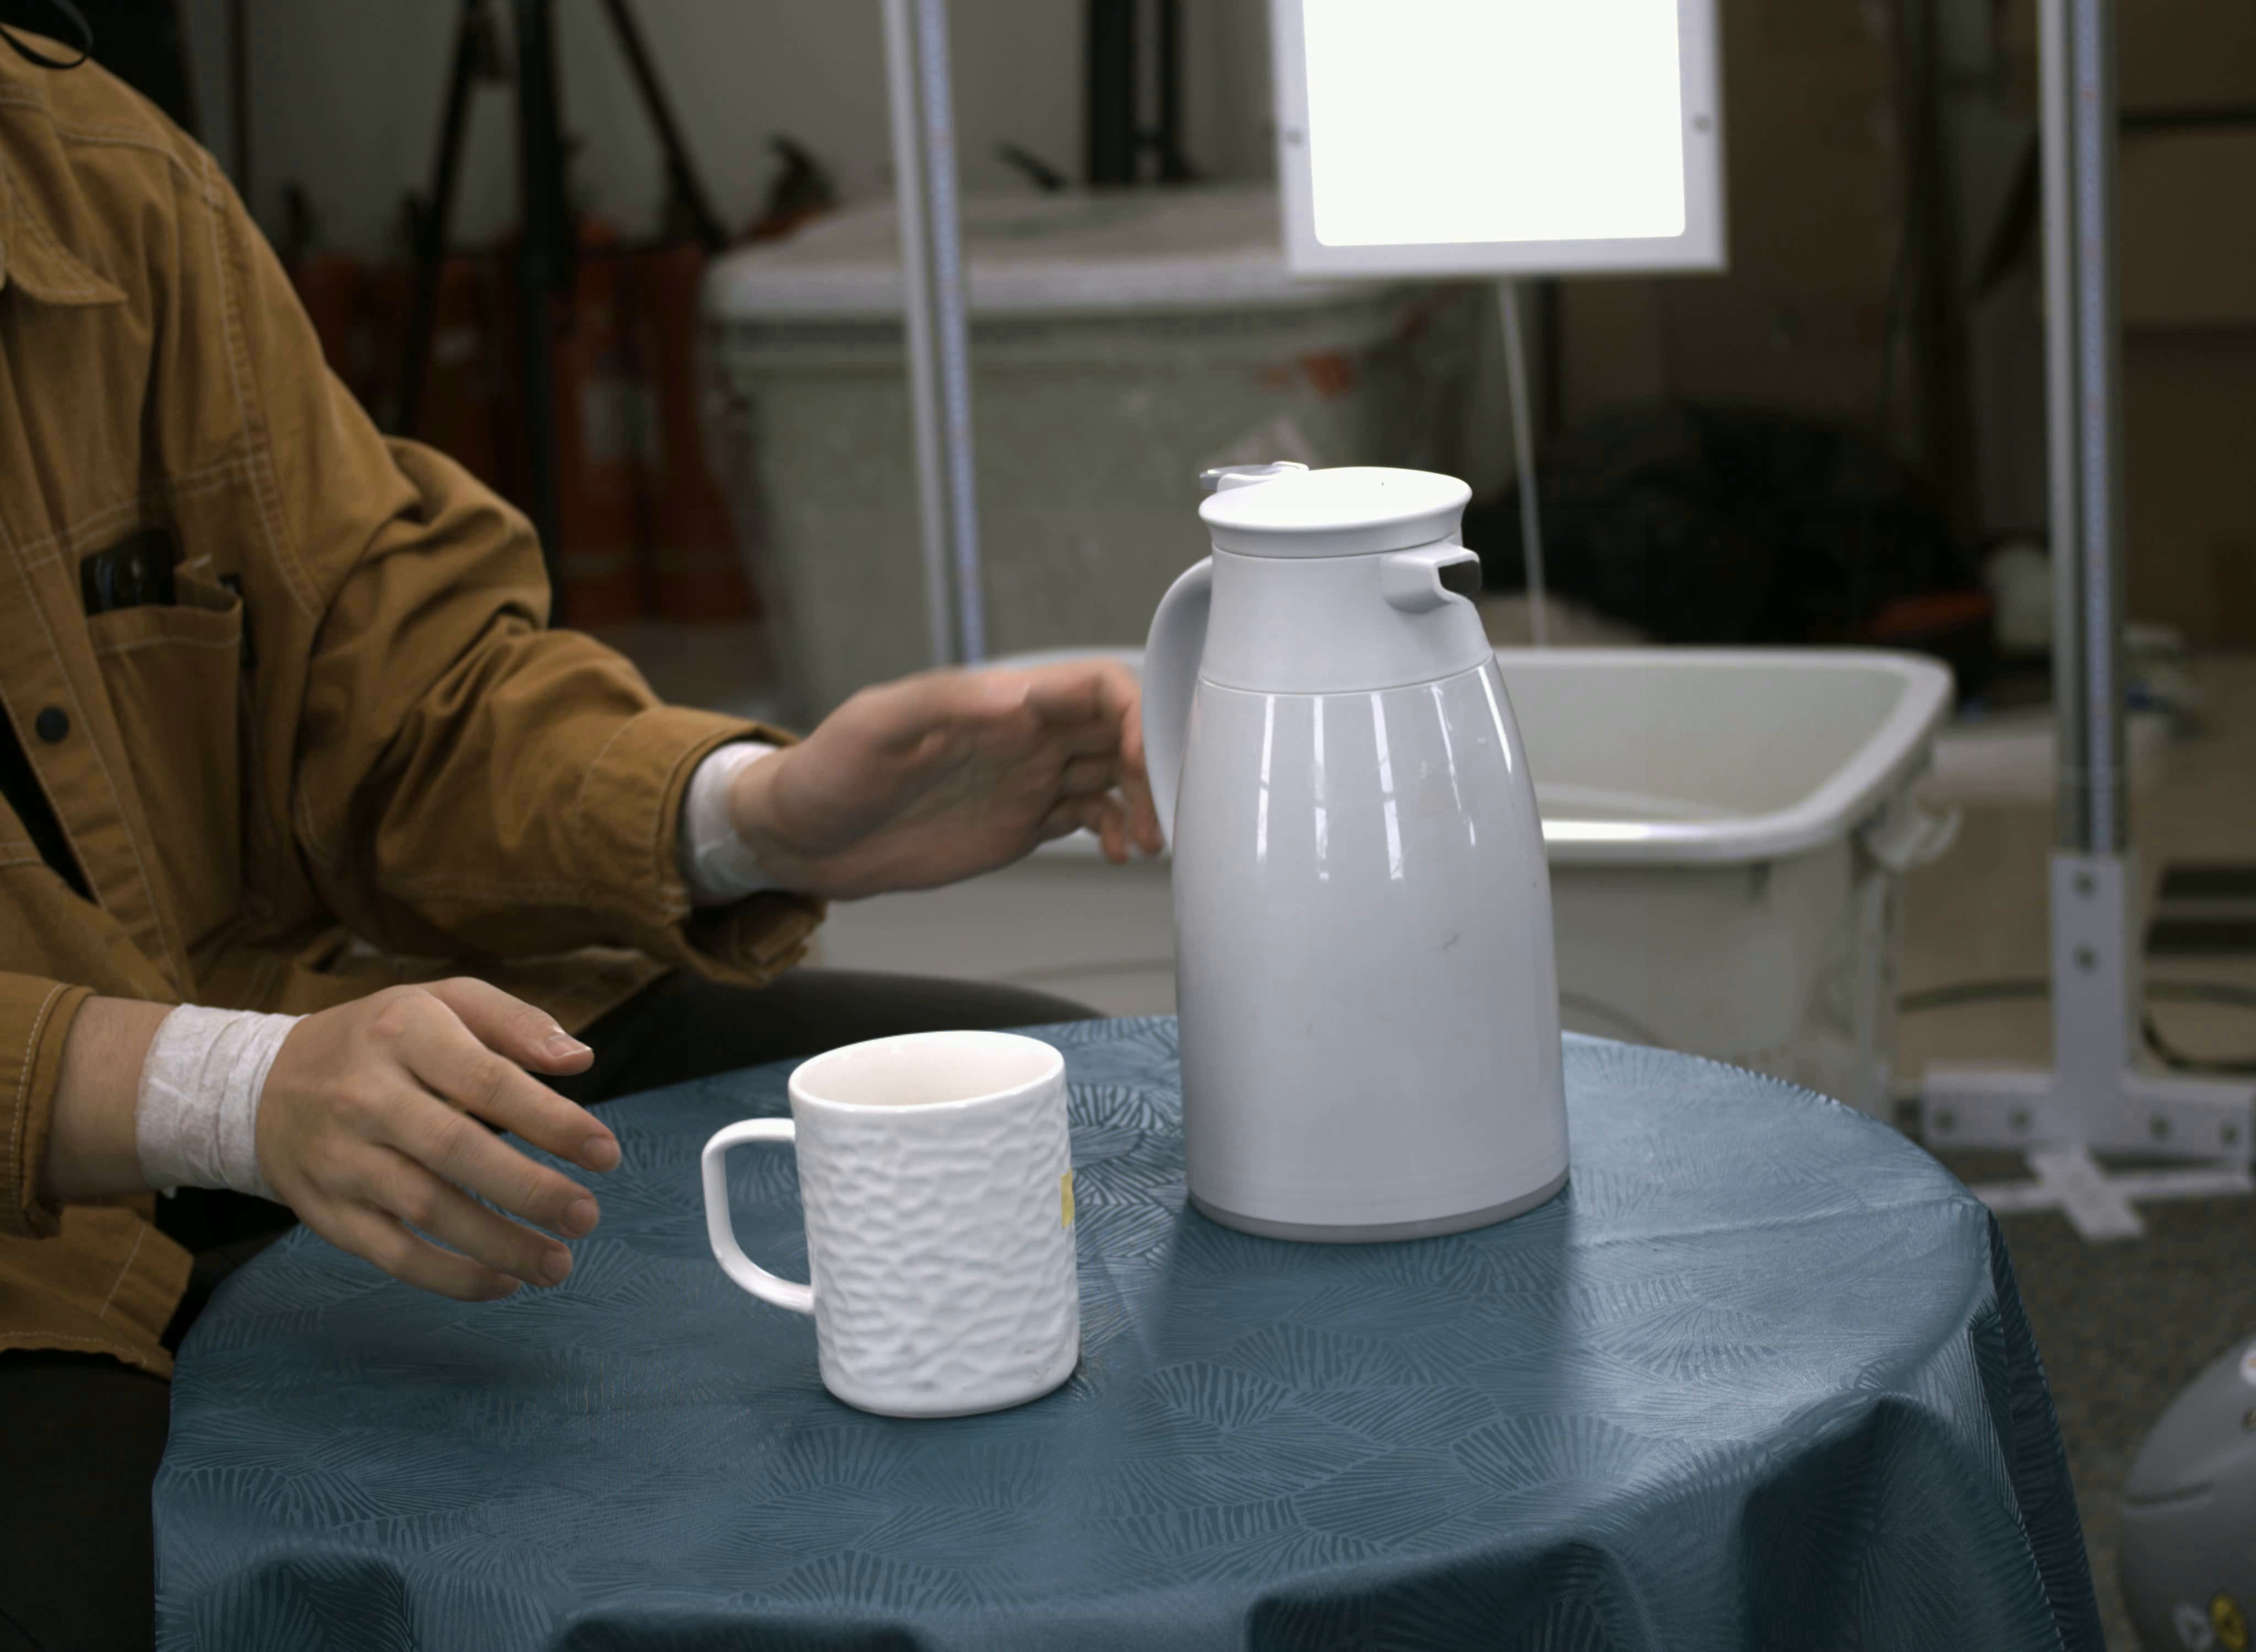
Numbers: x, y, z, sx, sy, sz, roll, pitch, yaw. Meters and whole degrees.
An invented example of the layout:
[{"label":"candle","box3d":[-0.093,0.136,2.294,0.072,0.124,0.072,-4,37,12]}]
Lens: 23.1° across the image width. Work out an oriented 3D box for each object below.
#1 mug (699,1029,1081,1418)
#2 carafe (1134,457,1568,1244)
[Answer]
[{"label":"mug","box3d":[-0.075,0.124,1.721,0.119,0.102,0.084,-2,14,13]},{"label":"carafe","box3d":[0.063,0.000,1.868,0.129,0.249,0.171,-16,17,-35]}]
